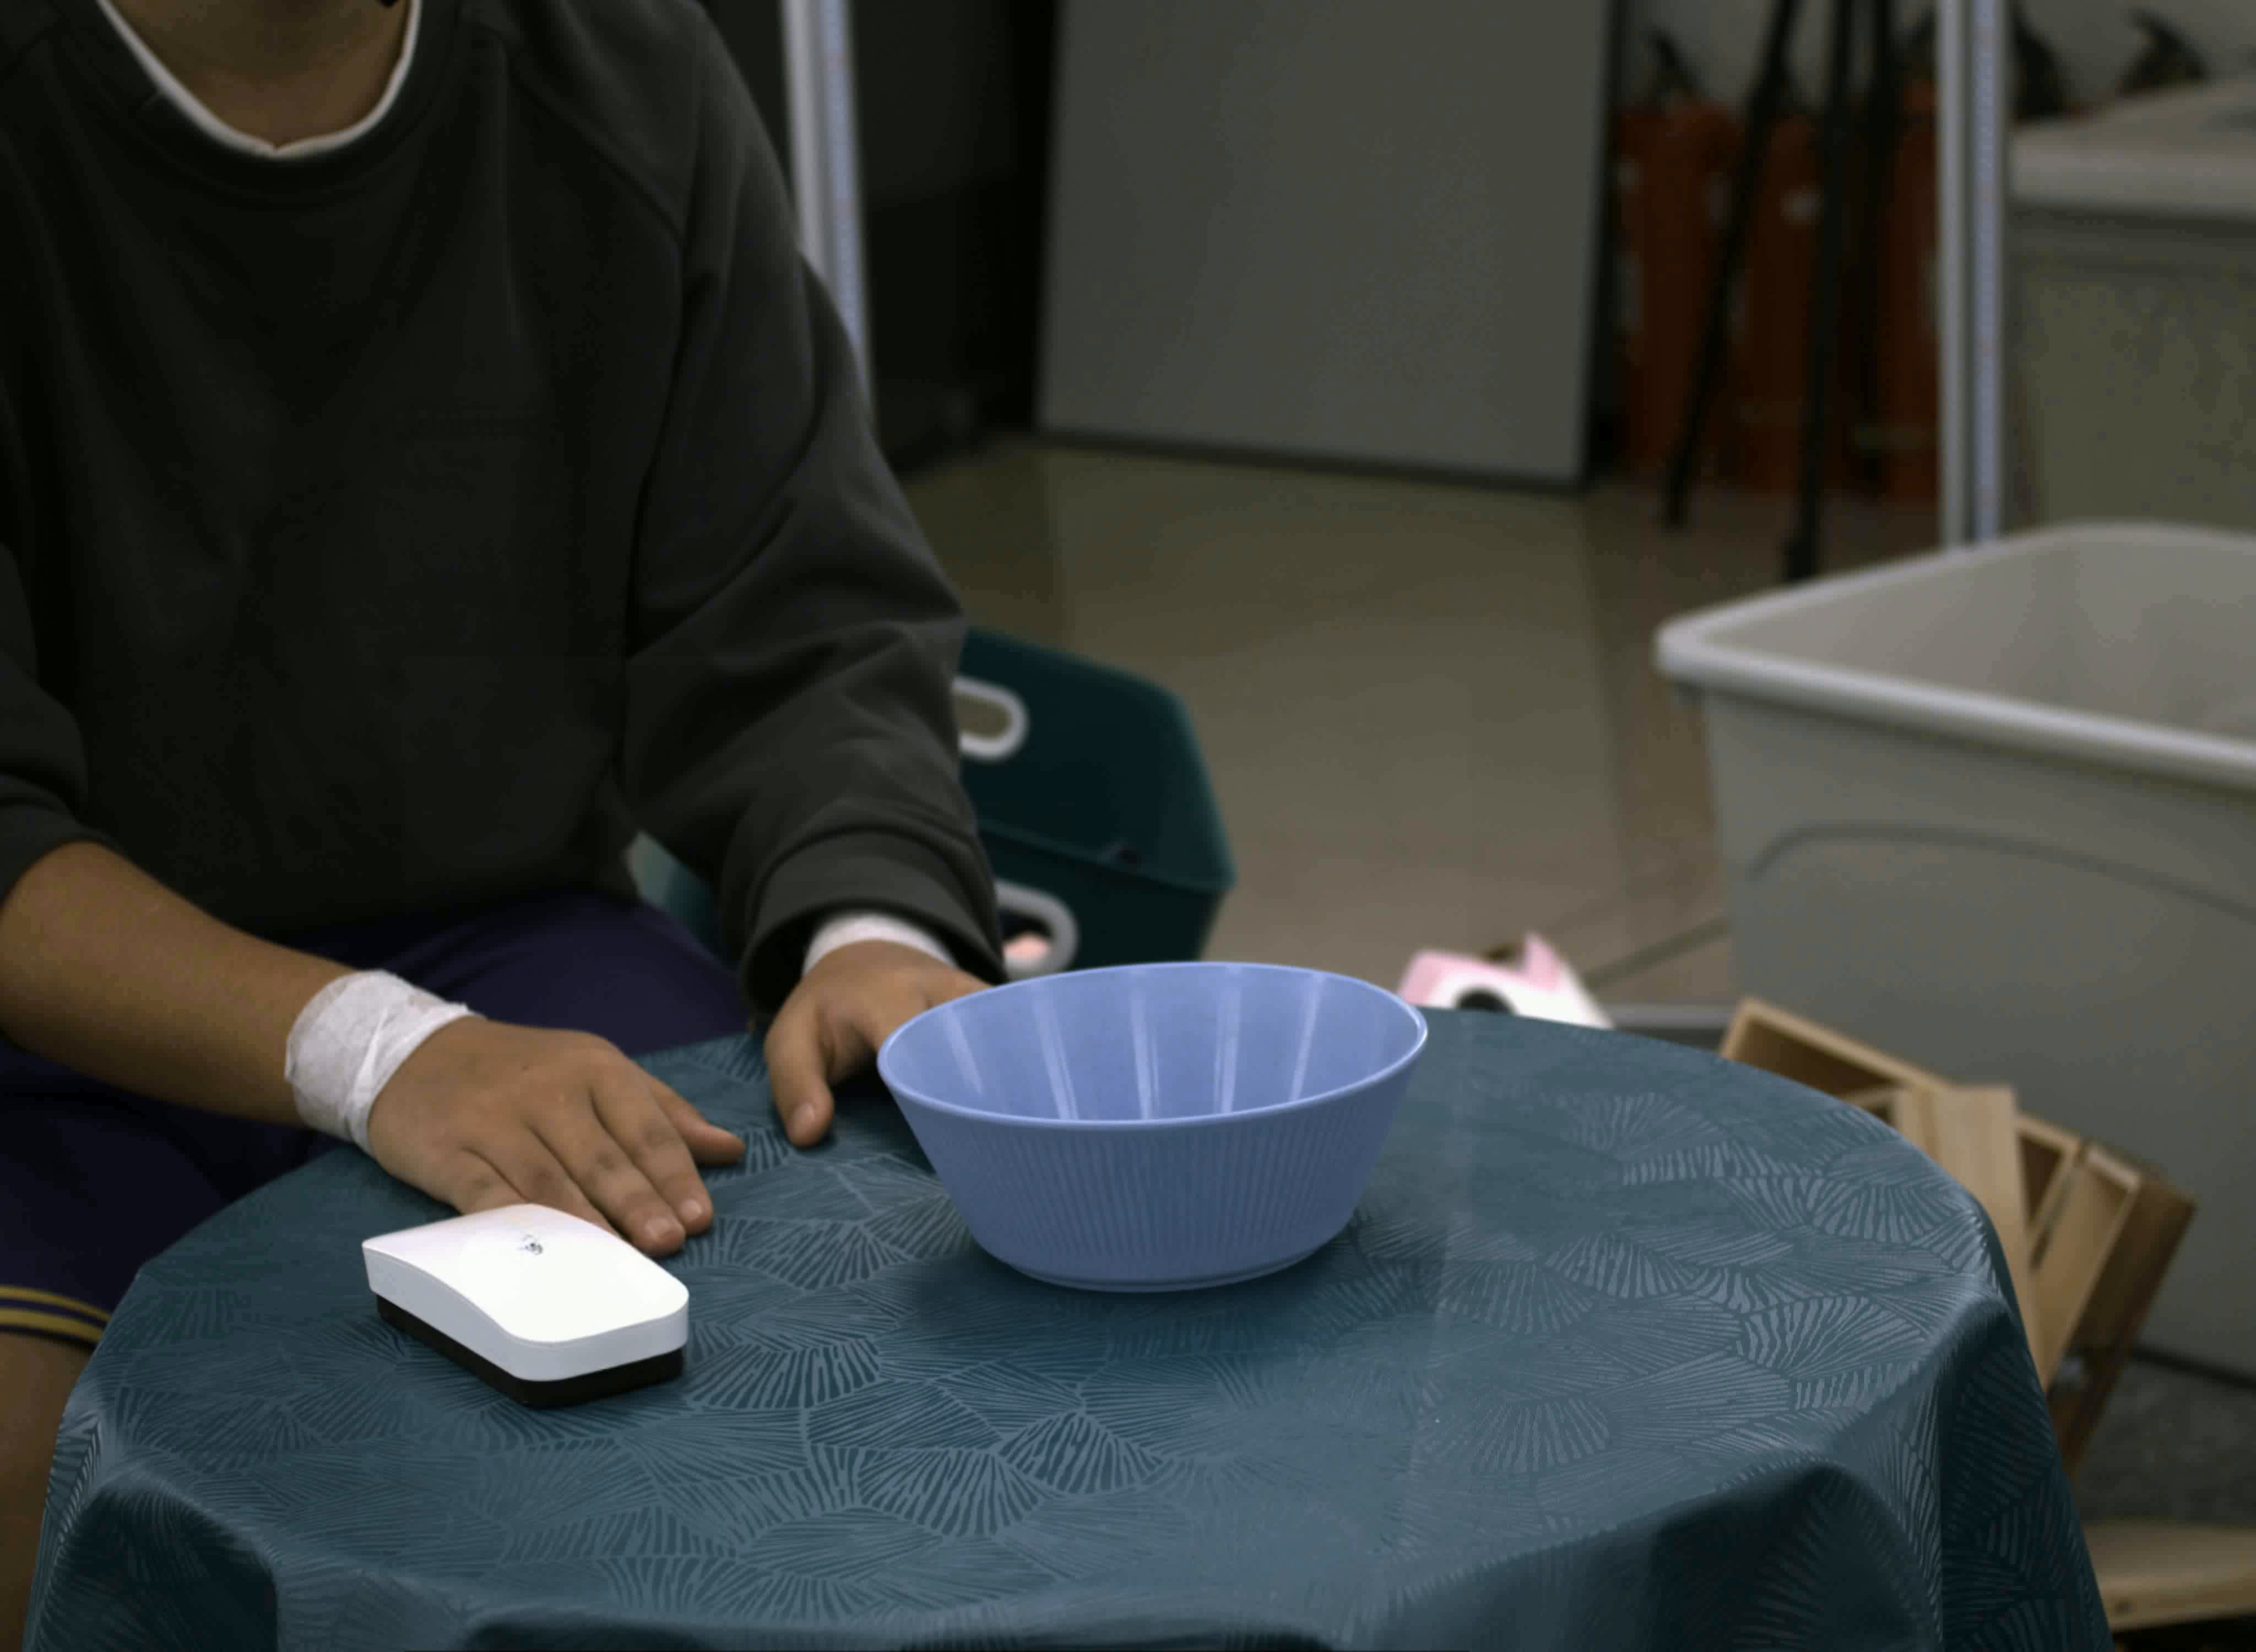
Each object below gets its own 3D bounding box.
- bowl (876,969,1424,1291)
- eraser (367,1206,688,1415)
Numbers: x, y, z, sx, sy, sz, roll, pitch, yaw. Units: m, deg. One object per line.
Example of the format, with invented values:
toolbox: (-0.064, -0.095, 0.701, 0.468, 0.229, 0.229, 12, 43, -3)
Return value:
bowl: (0.008, 0.098, 1.710, 0.174, 0.071, 0.176, -3, 13, 0)
eraser: (-0.183, 0.144, 1.660, 0.062, 0.035, 0.133, -10, 17, -28)
